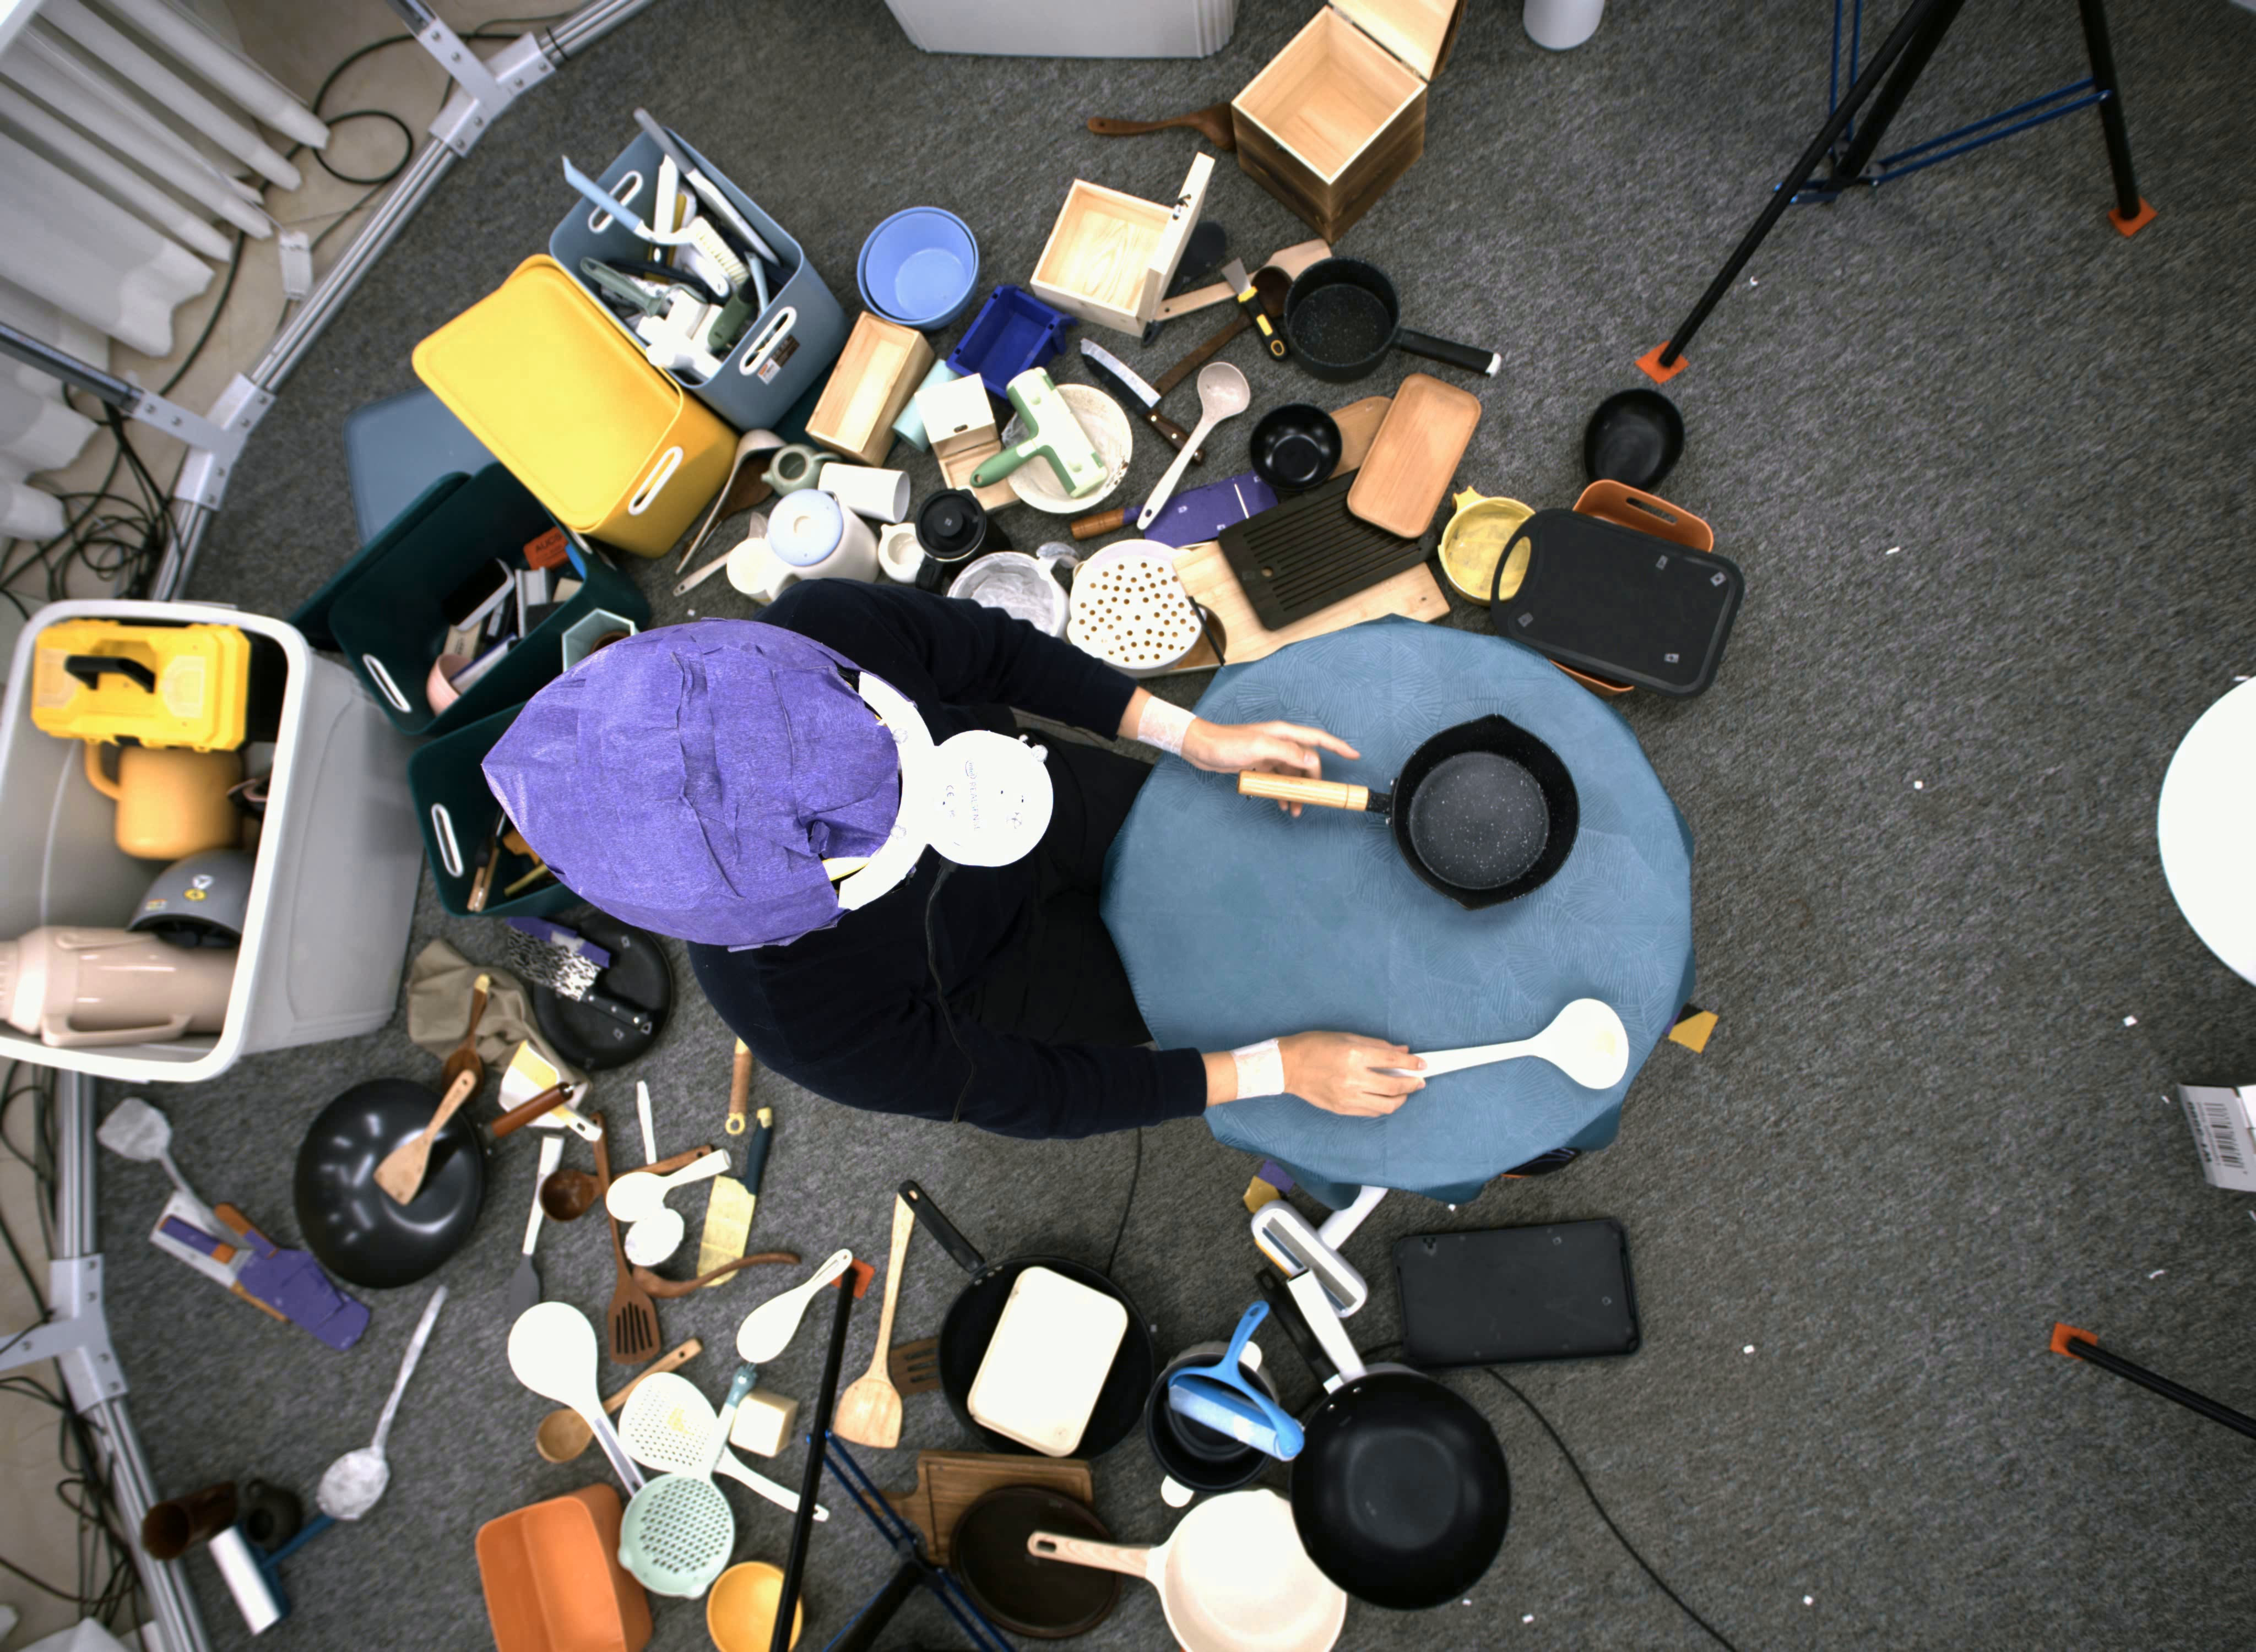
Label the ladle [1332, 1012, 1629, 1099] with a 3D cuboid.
[{"bbox_3d":[0.354,0.243,1.403,0.294,0.069,0.090,-9,97,11],"label":"ladle"}]

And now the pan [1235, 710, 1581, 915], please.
[{"bbox_3d":[0.282,-0.020,1.408,0.344,0.108,0.207,6,88,10],"label":"pan"}]
